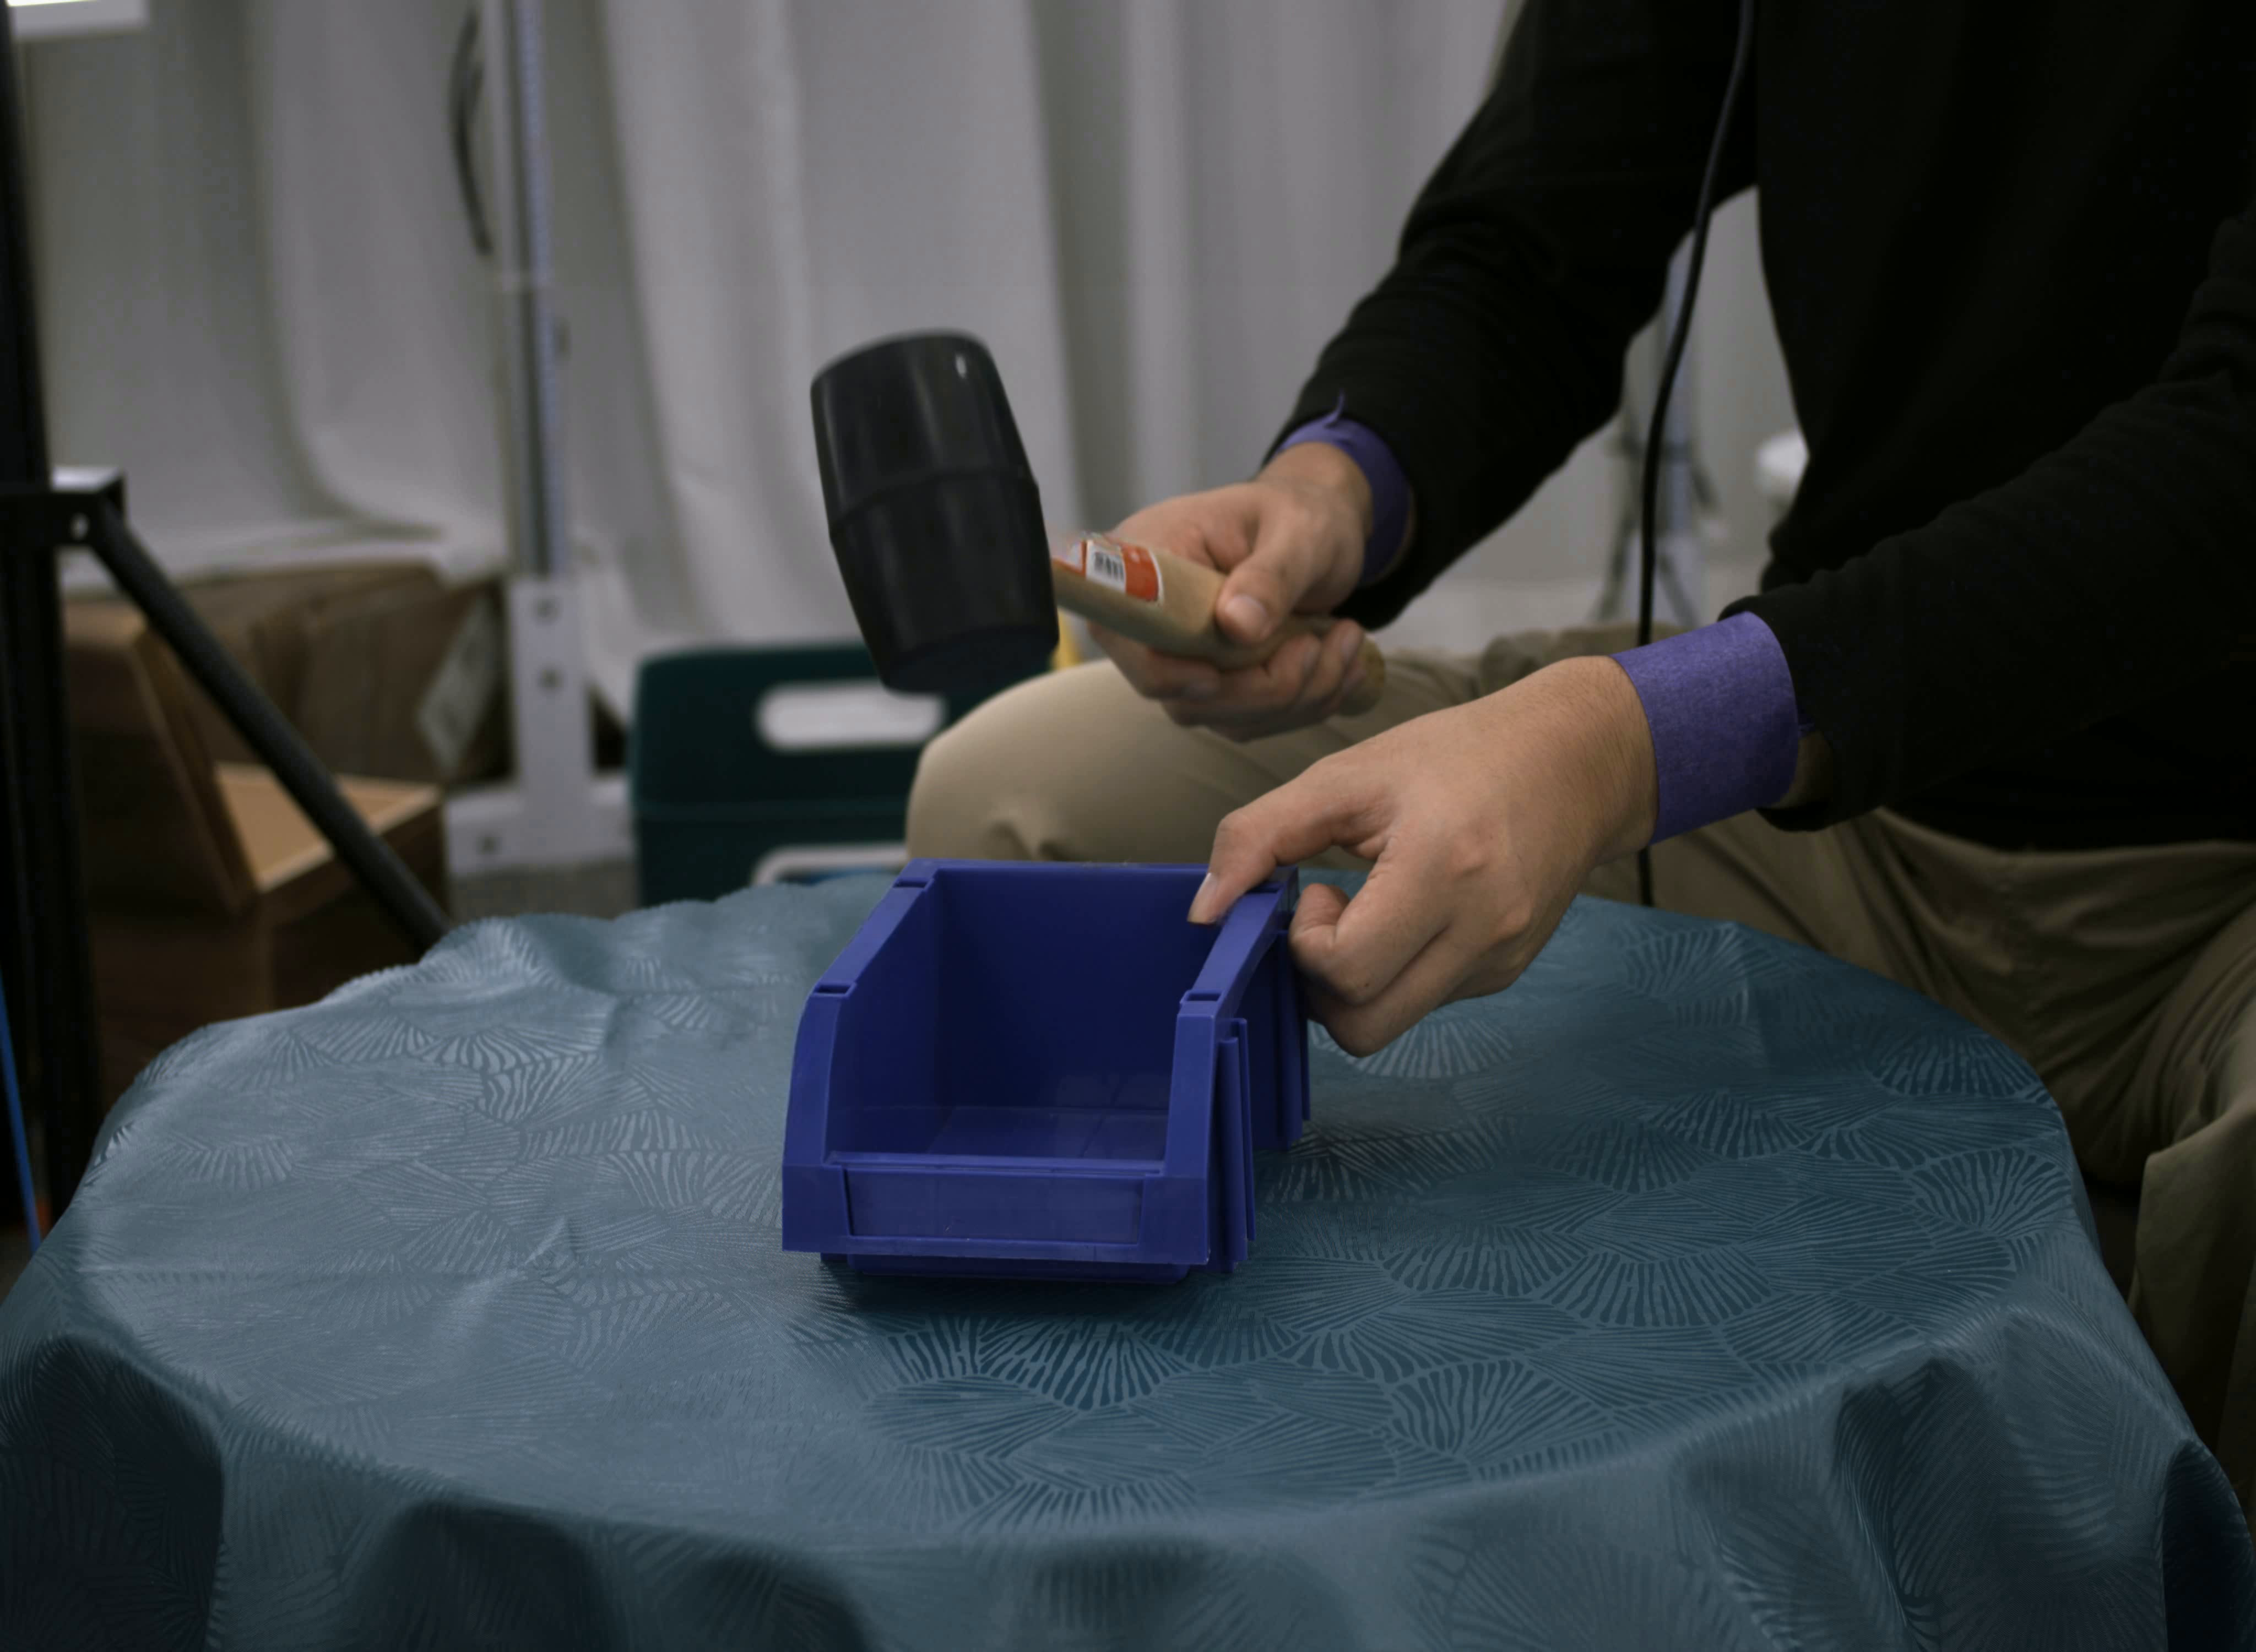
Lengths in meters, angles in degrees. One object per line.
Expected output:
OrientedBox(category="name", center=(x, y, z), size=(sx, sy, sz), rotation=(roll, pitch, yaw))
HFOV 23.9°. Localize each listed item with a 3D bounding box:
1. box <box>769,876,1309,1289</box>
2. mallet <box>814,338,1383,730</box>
OrientedBox(category="box", center=(-0.021, 0.075, 1.525), size=(0.125, 0.082, 0.178), rotation=(1, 13, 13))
OrientedBox(category="mallet", center=(0.009, -0.074, 1.709), size=(0.065, 0.103, 0.331), rotation=(-18, -16, 27))
